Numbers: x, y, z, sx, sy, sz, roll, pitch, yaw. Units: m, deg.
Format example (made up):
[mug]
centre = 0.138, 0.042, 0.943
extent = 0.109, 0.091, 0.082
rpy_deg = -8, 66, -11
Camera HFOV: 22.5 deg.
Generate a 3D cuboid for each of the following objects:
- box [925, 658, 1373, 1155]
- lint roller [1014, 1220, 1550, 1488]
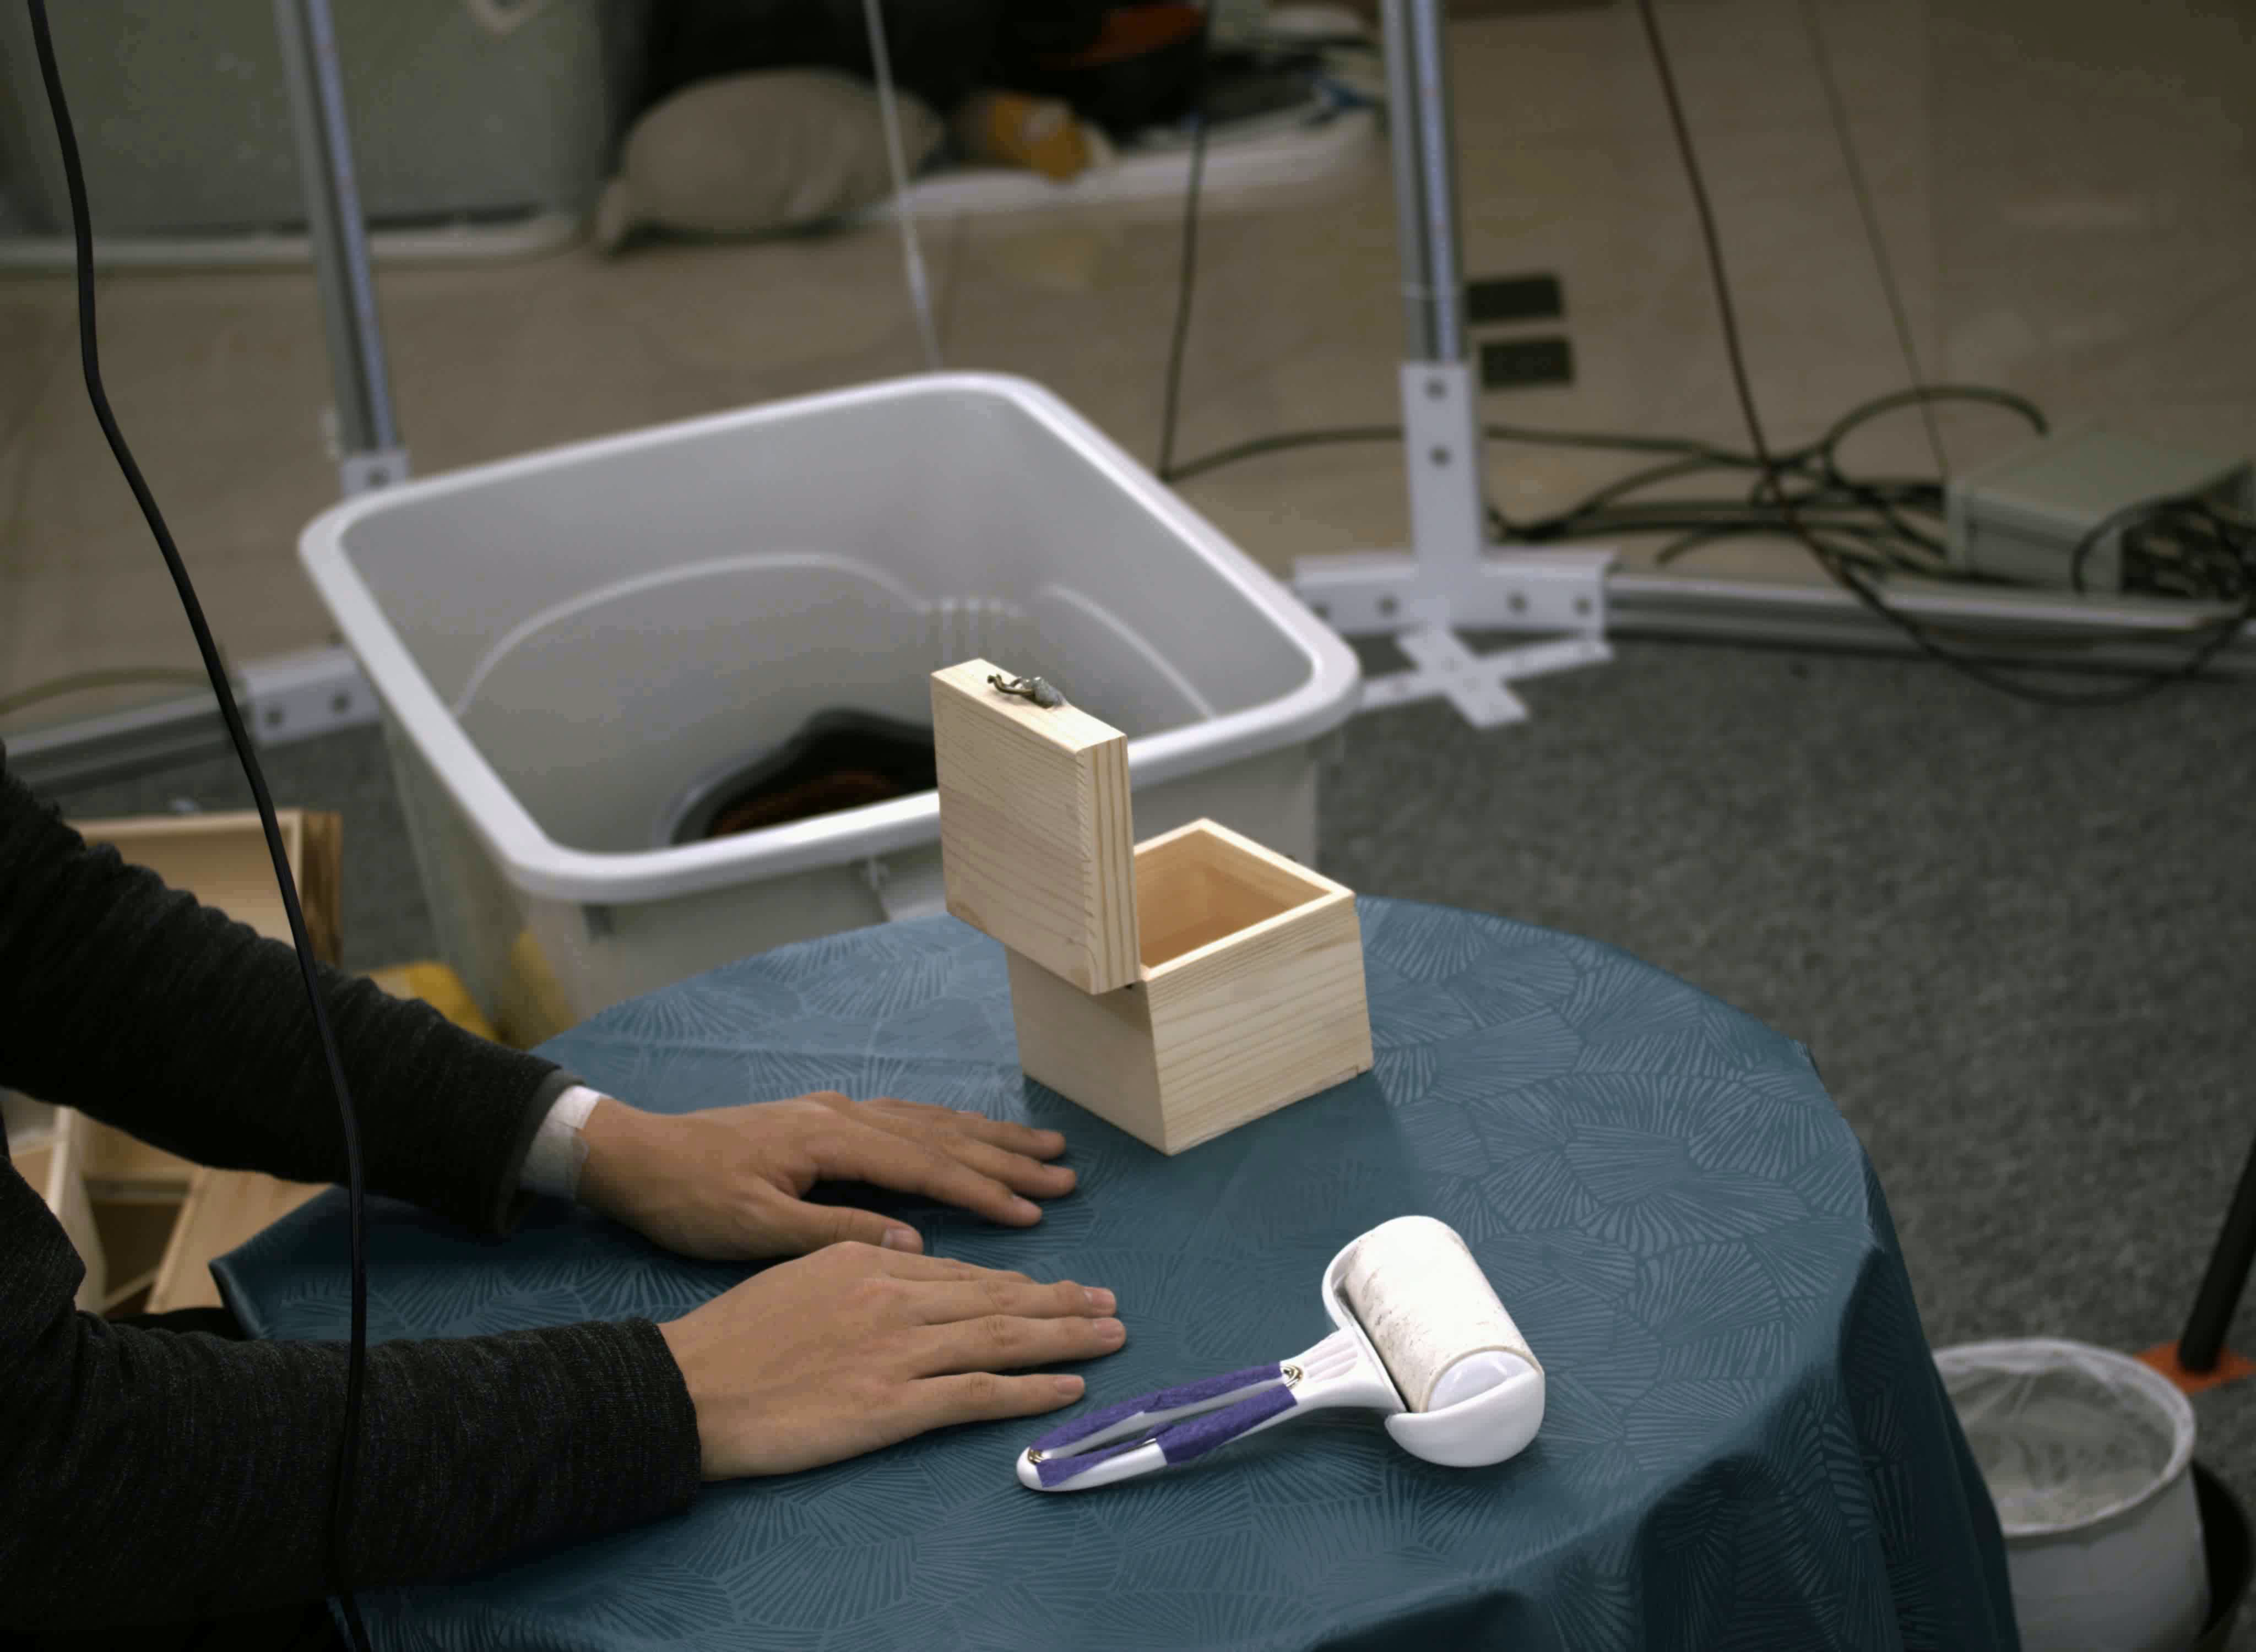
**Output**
[box]
centre = 0.010, 0.017, 2.186
extent = 0.133, 0.187, 0.101
rpy_deg = -22, 30, -28
[lint roller]
centre = 0.047, 0.190, 1.971
extent = 0.180, 0.051, 0.131
rpy_deg = -8, 26, -9
